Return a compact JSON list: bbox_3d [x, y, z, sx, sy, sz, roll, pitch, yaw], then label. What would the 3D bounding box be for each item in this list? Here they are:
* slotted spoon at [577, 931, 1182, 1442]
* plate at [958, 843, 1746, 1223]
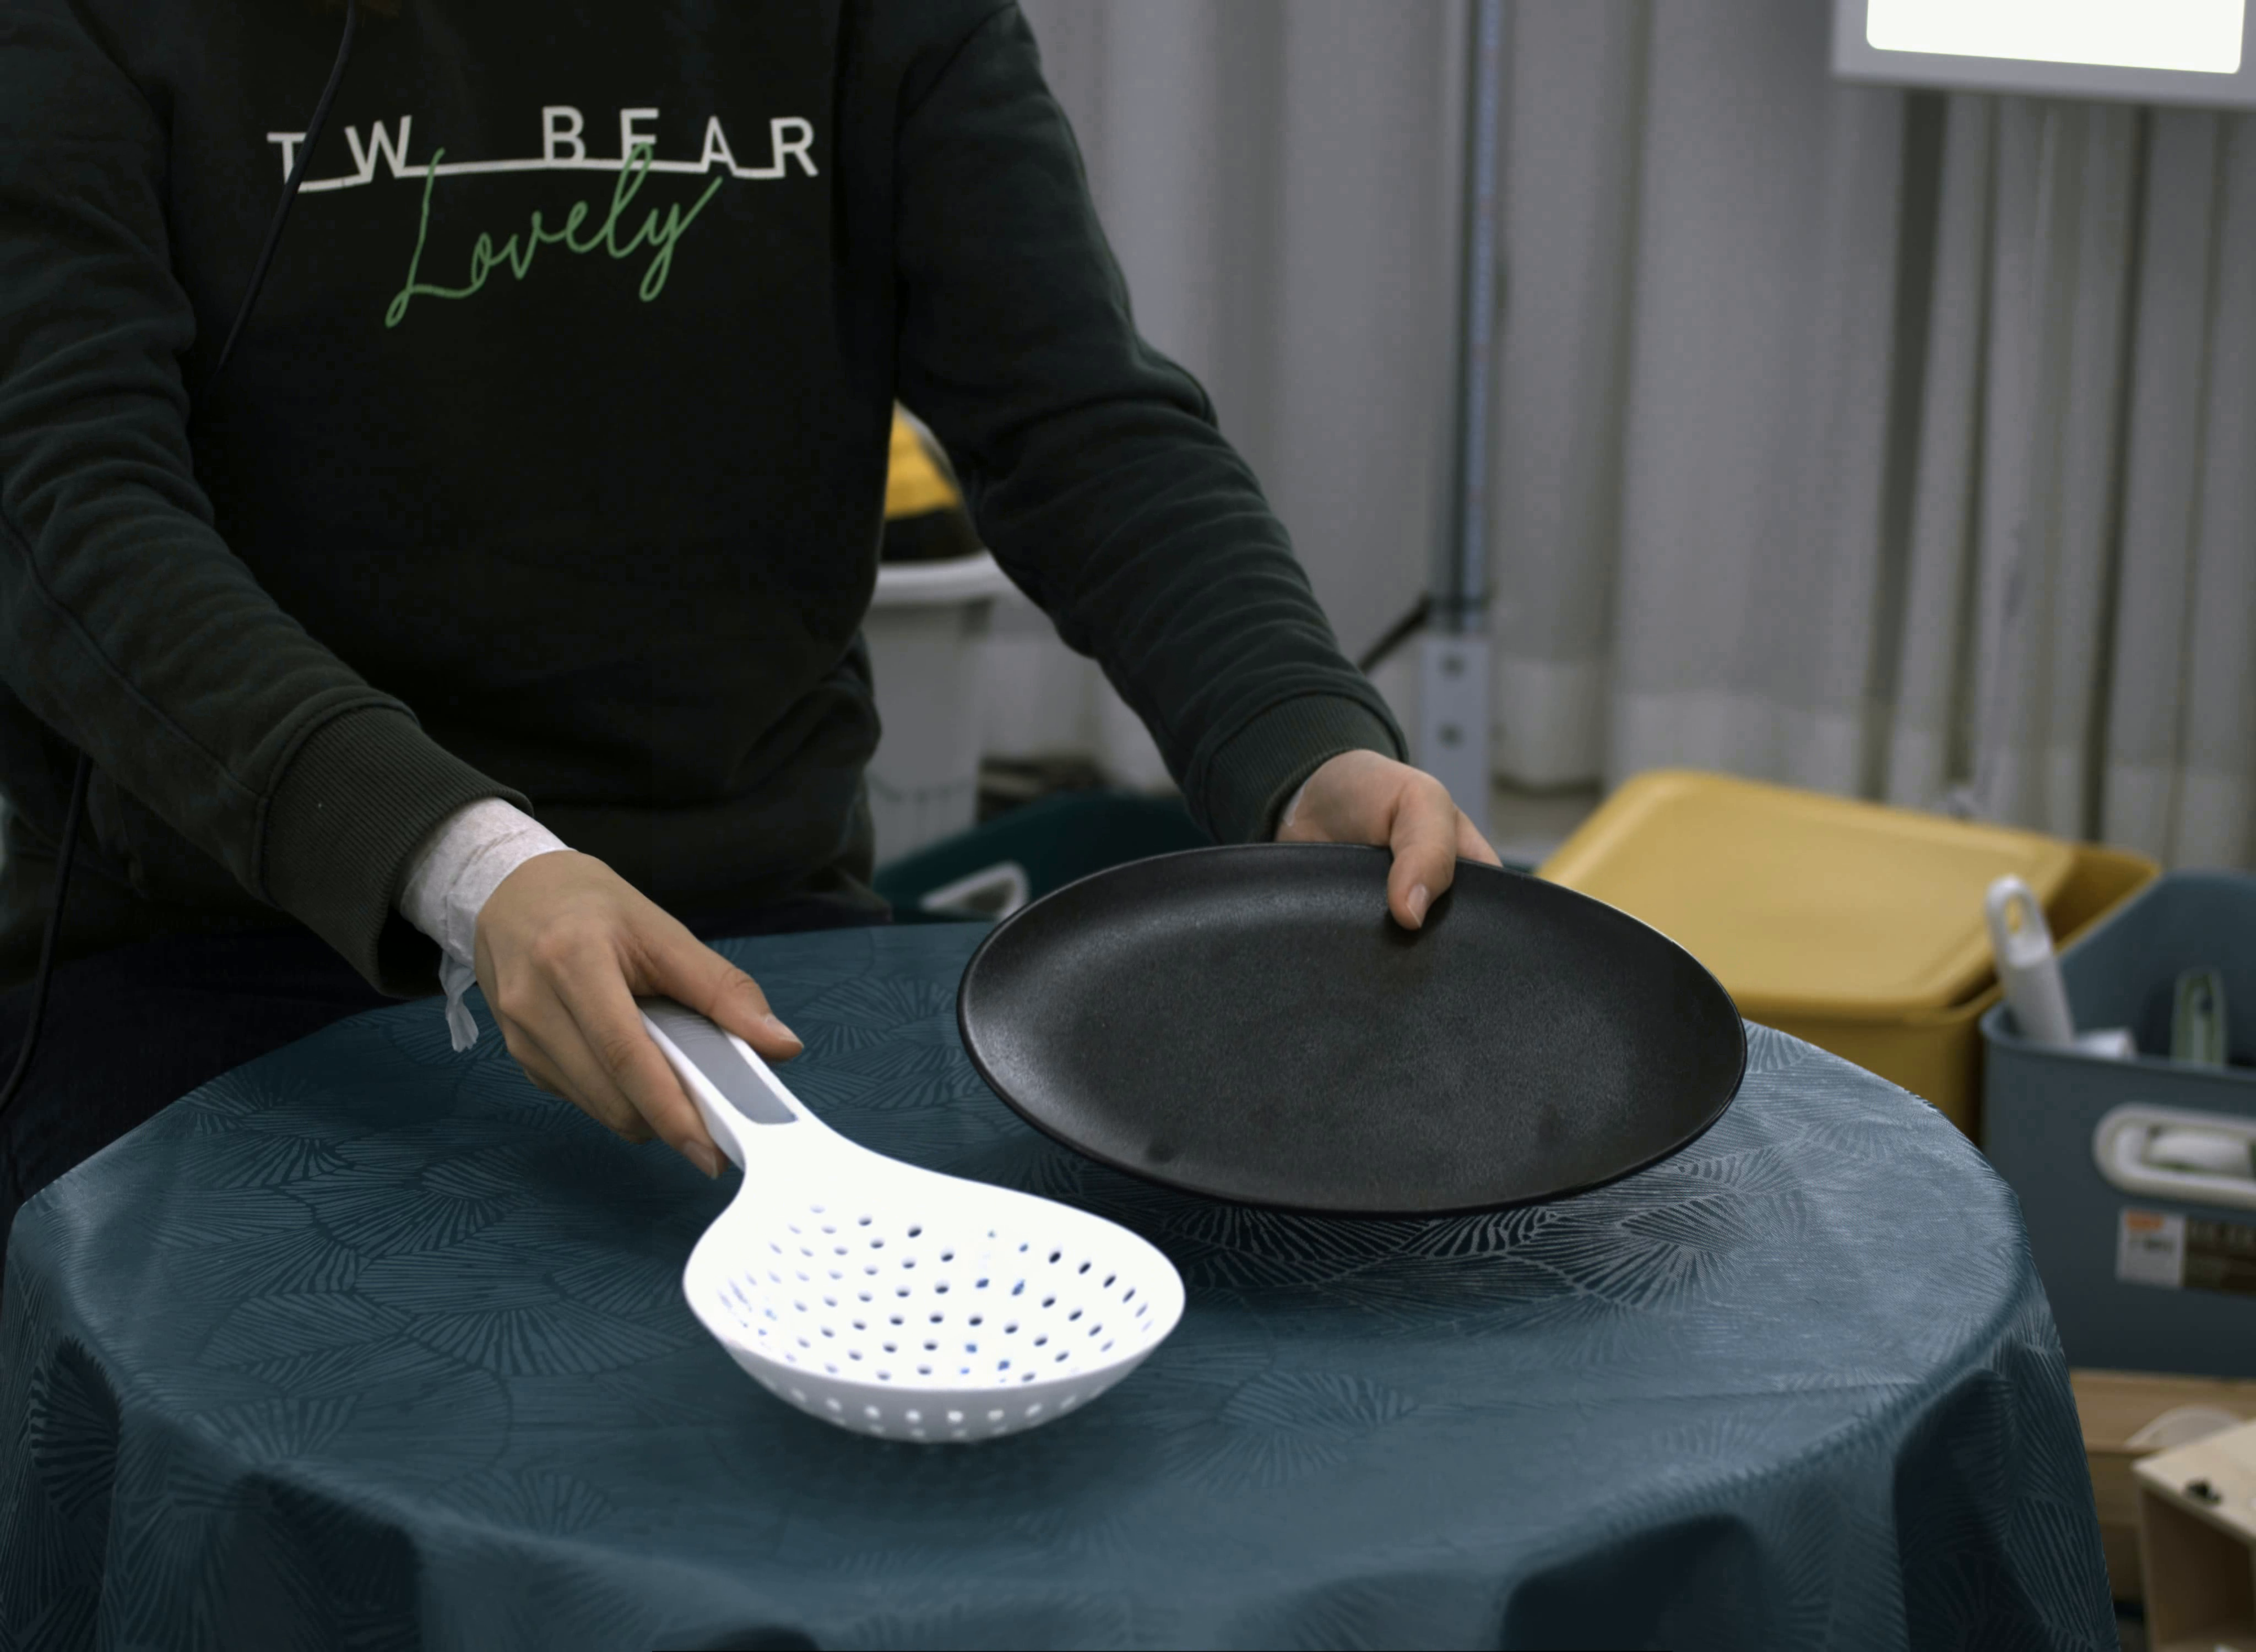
[{"bbox_3d":[-0.096,0.096,1.521,0.136,0.046,0.345,-4,25,-24],"label":"slotted spoon"},{"bbox_3d":[0.068,0.067,1.623,0.244,0.023,0.242,3,26,-1],"label":"plate"}]
